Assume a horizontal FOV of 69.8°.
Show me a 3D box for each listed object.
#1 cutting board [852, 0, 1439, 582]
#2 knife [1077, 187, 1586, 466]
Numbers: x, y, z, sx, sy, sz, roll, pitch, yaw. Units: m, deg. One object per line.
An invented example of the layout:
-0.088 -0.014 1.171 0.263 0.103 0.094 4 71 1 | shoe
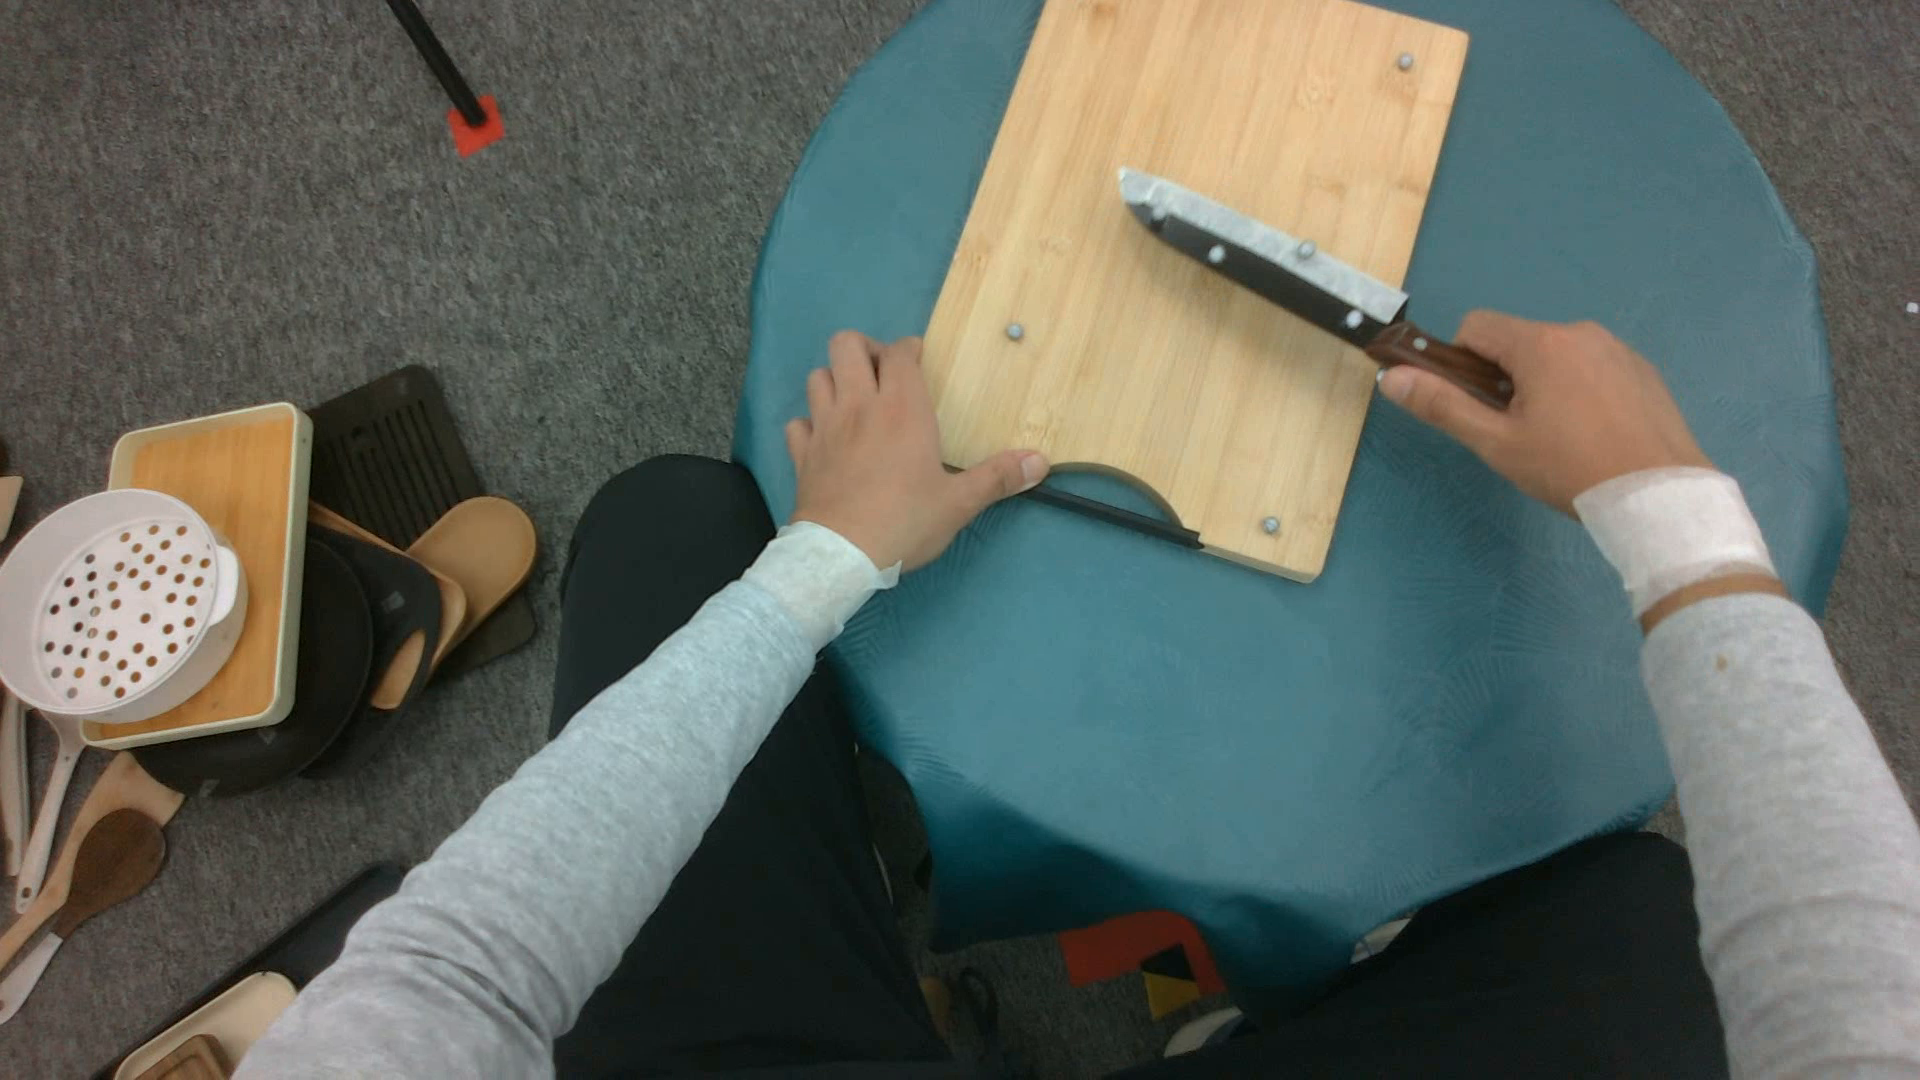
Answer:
0.111 -0.172 0.773 0.250 0.023 0.349 16 75 5 | cutting board
0.182 -0.114 0.701 0.289 0.020 0.050 31 62 14 | knife
